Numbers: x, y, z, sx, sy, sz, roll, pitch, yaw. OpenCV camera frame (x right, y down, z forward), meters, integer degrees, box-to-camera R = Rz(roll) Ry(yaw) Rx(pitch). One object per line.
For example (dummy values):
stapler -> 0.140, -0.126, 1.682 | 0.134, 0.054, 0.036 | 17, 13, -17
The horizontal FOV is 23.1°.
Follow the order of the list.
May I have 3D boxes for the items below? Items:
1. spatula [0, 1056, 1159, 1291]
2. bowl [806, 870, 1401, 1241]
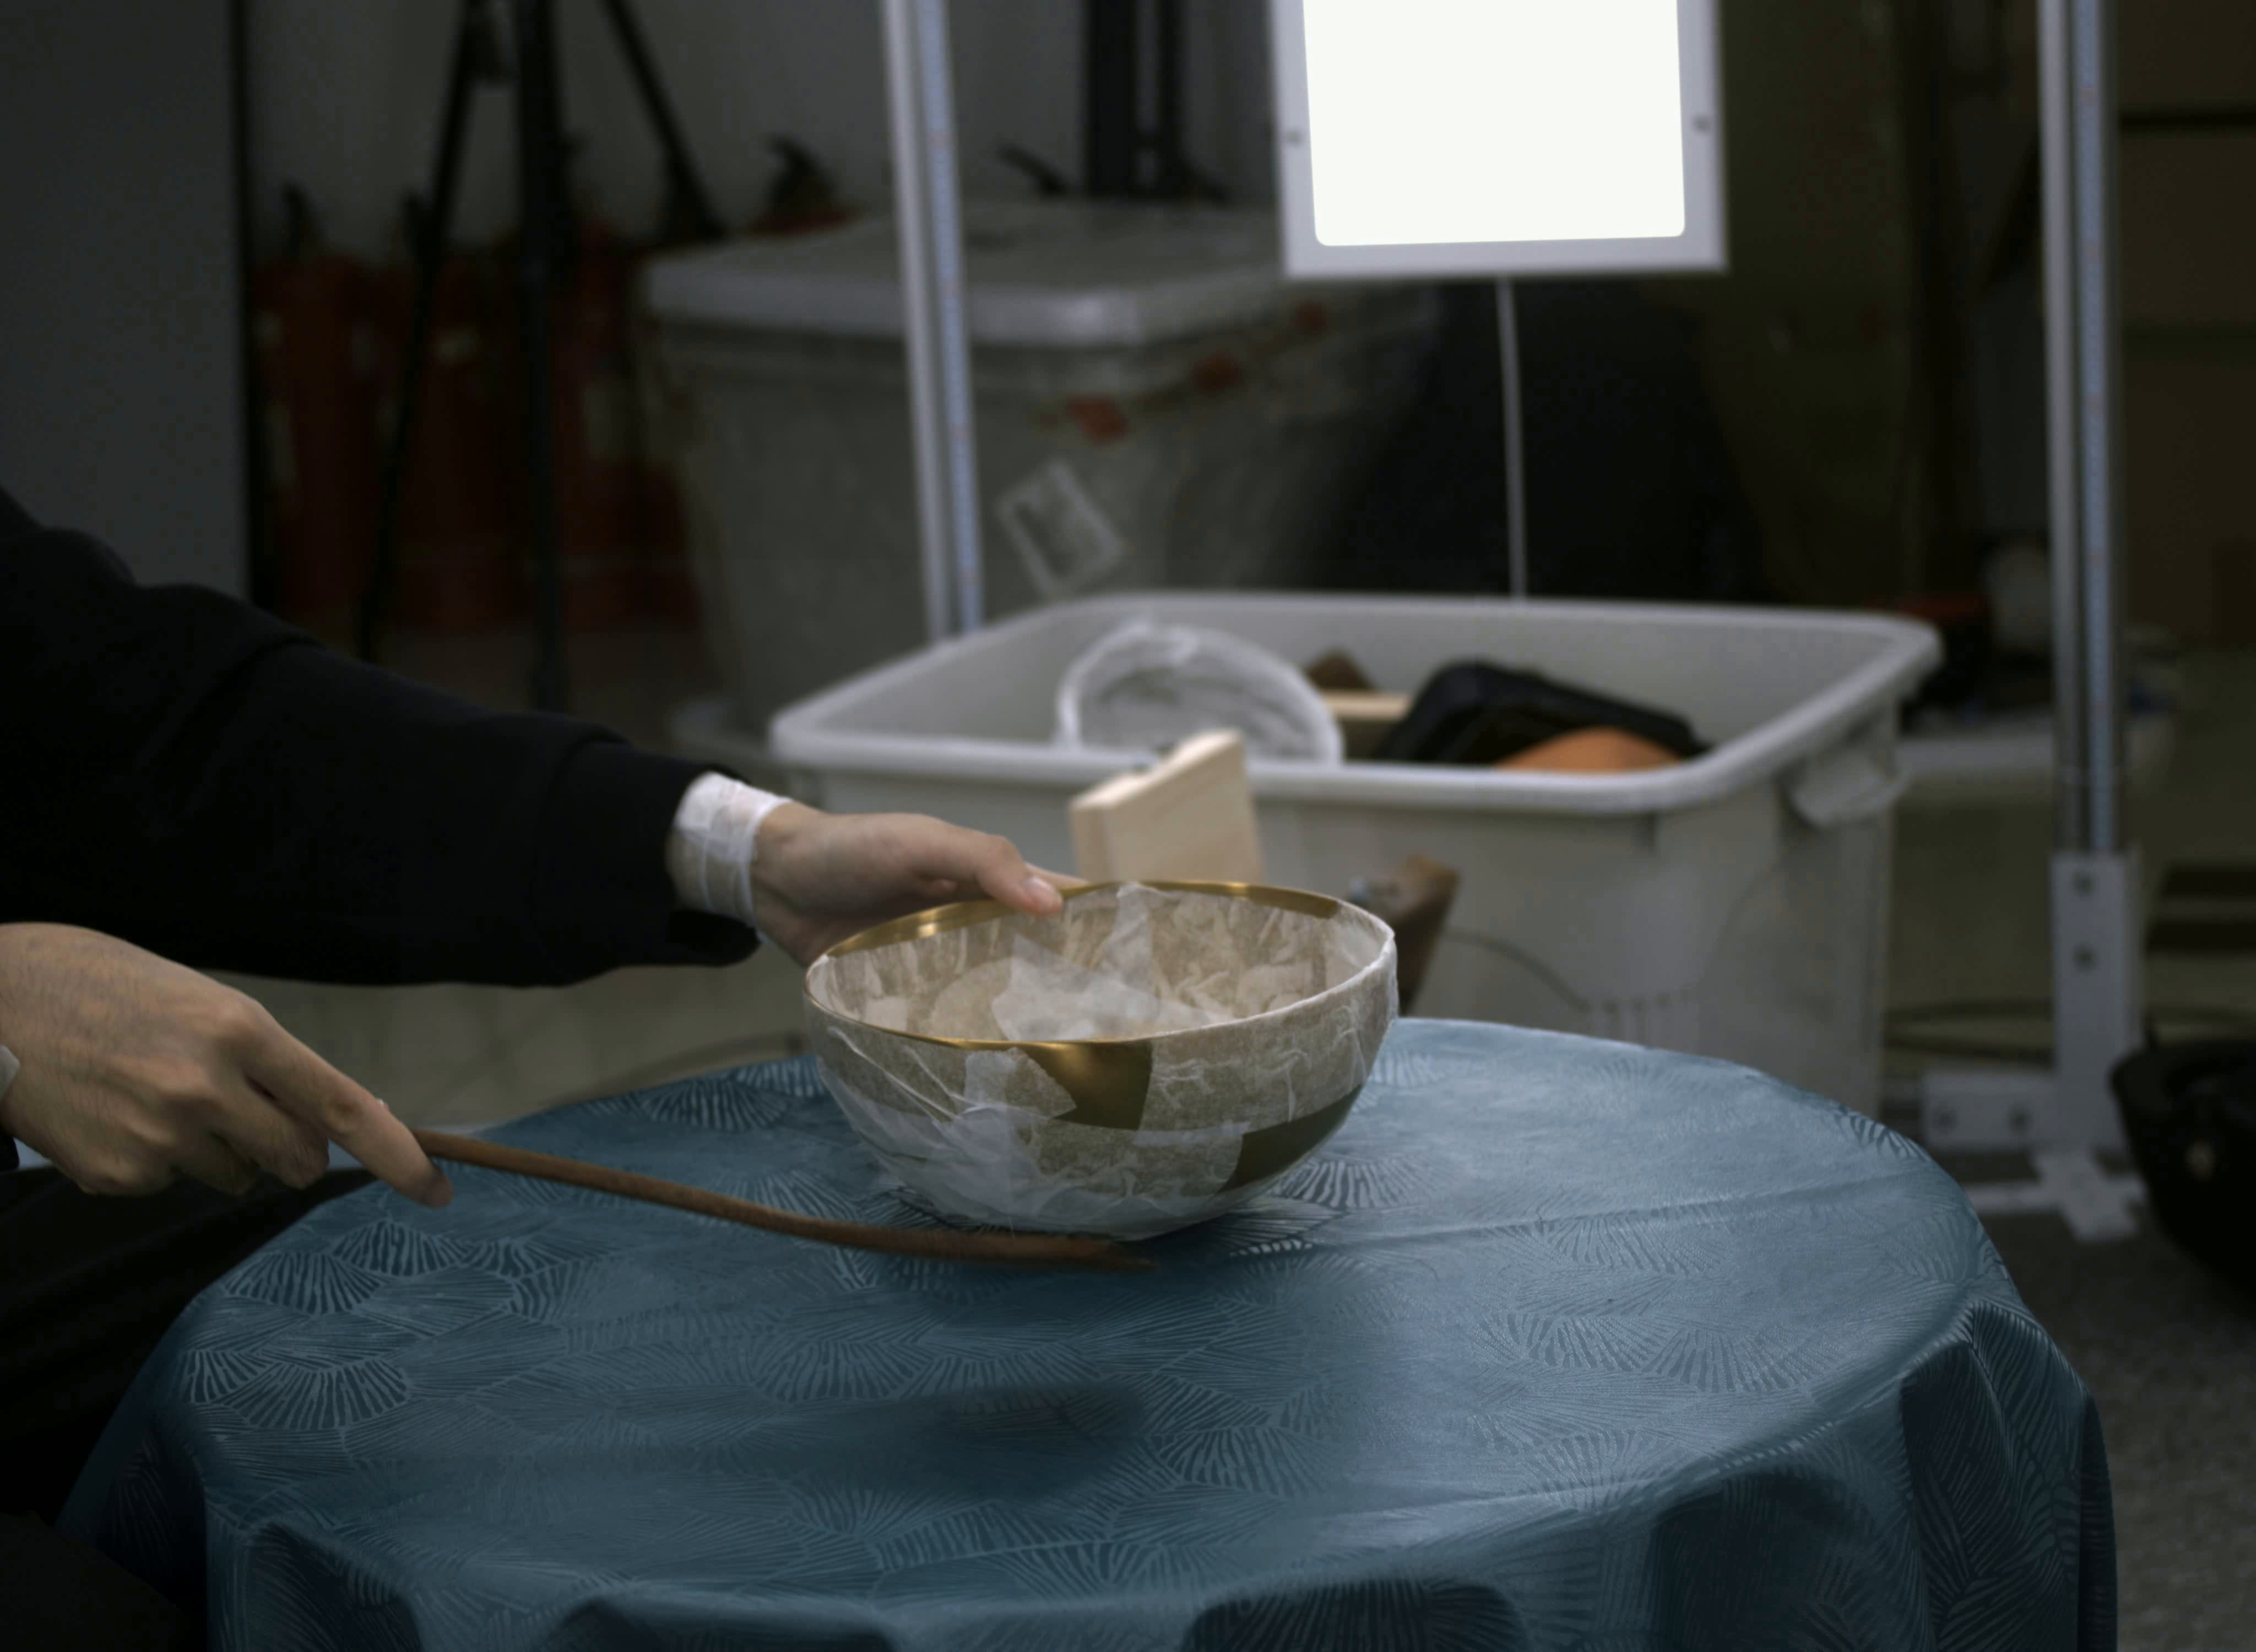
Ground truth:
spatula -> -0.179, 0.106, 1.698 | 0.388, 0.016, 0.095 | 10, -5, 10
bowl -> -0.007, 0.085, 1.872 | 0.214, 0.095, 0.214 | -6, 15, 0
